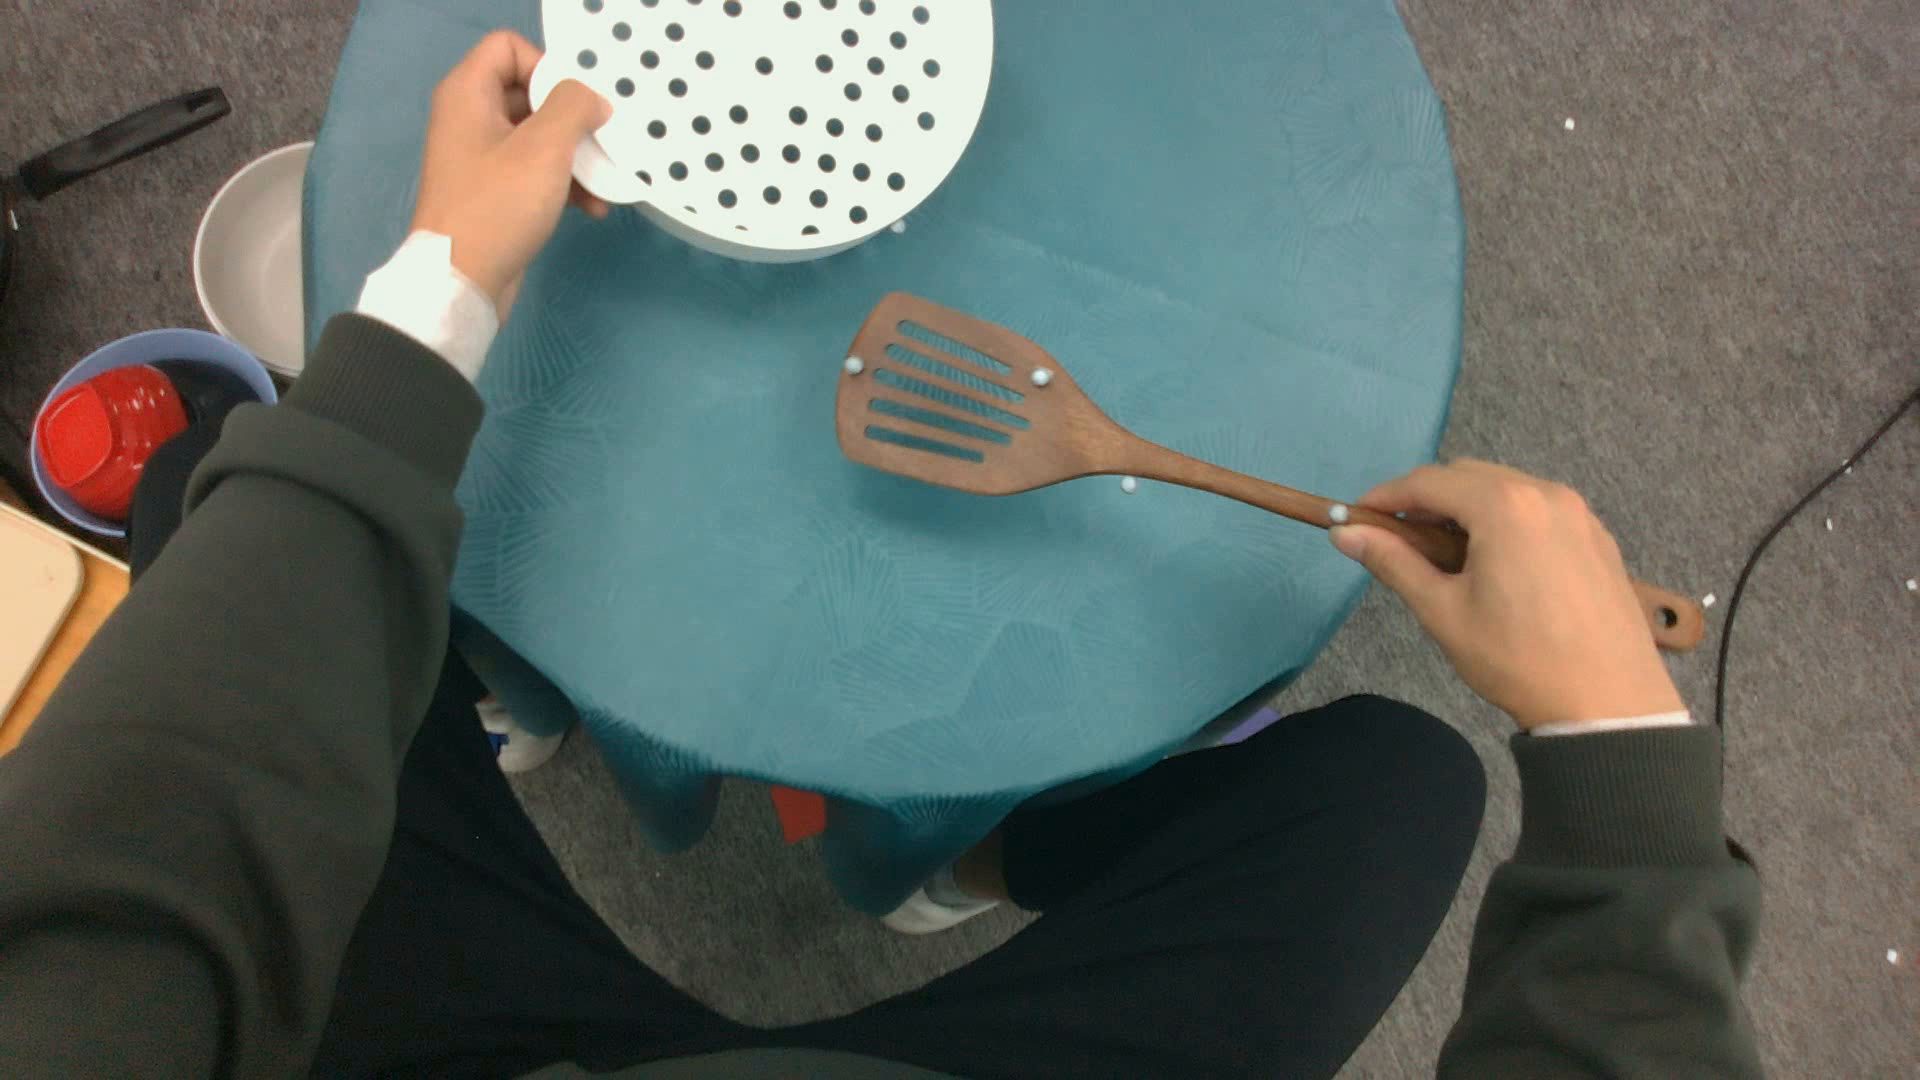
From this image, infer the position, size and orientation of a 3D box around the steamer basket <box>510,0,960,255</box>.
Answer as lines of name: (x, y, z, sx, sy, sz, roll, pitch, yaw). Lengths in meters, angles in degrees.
steamer basket: (-0.103, -0.237, 0.659, 0.231, 0.069, 0.202, -37, 95, -10)

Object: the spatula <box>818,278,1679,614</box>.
spatula: (0.123, -0.032, 0.617, 0.385, 0.023, 0.086, 16, 85, 10)
